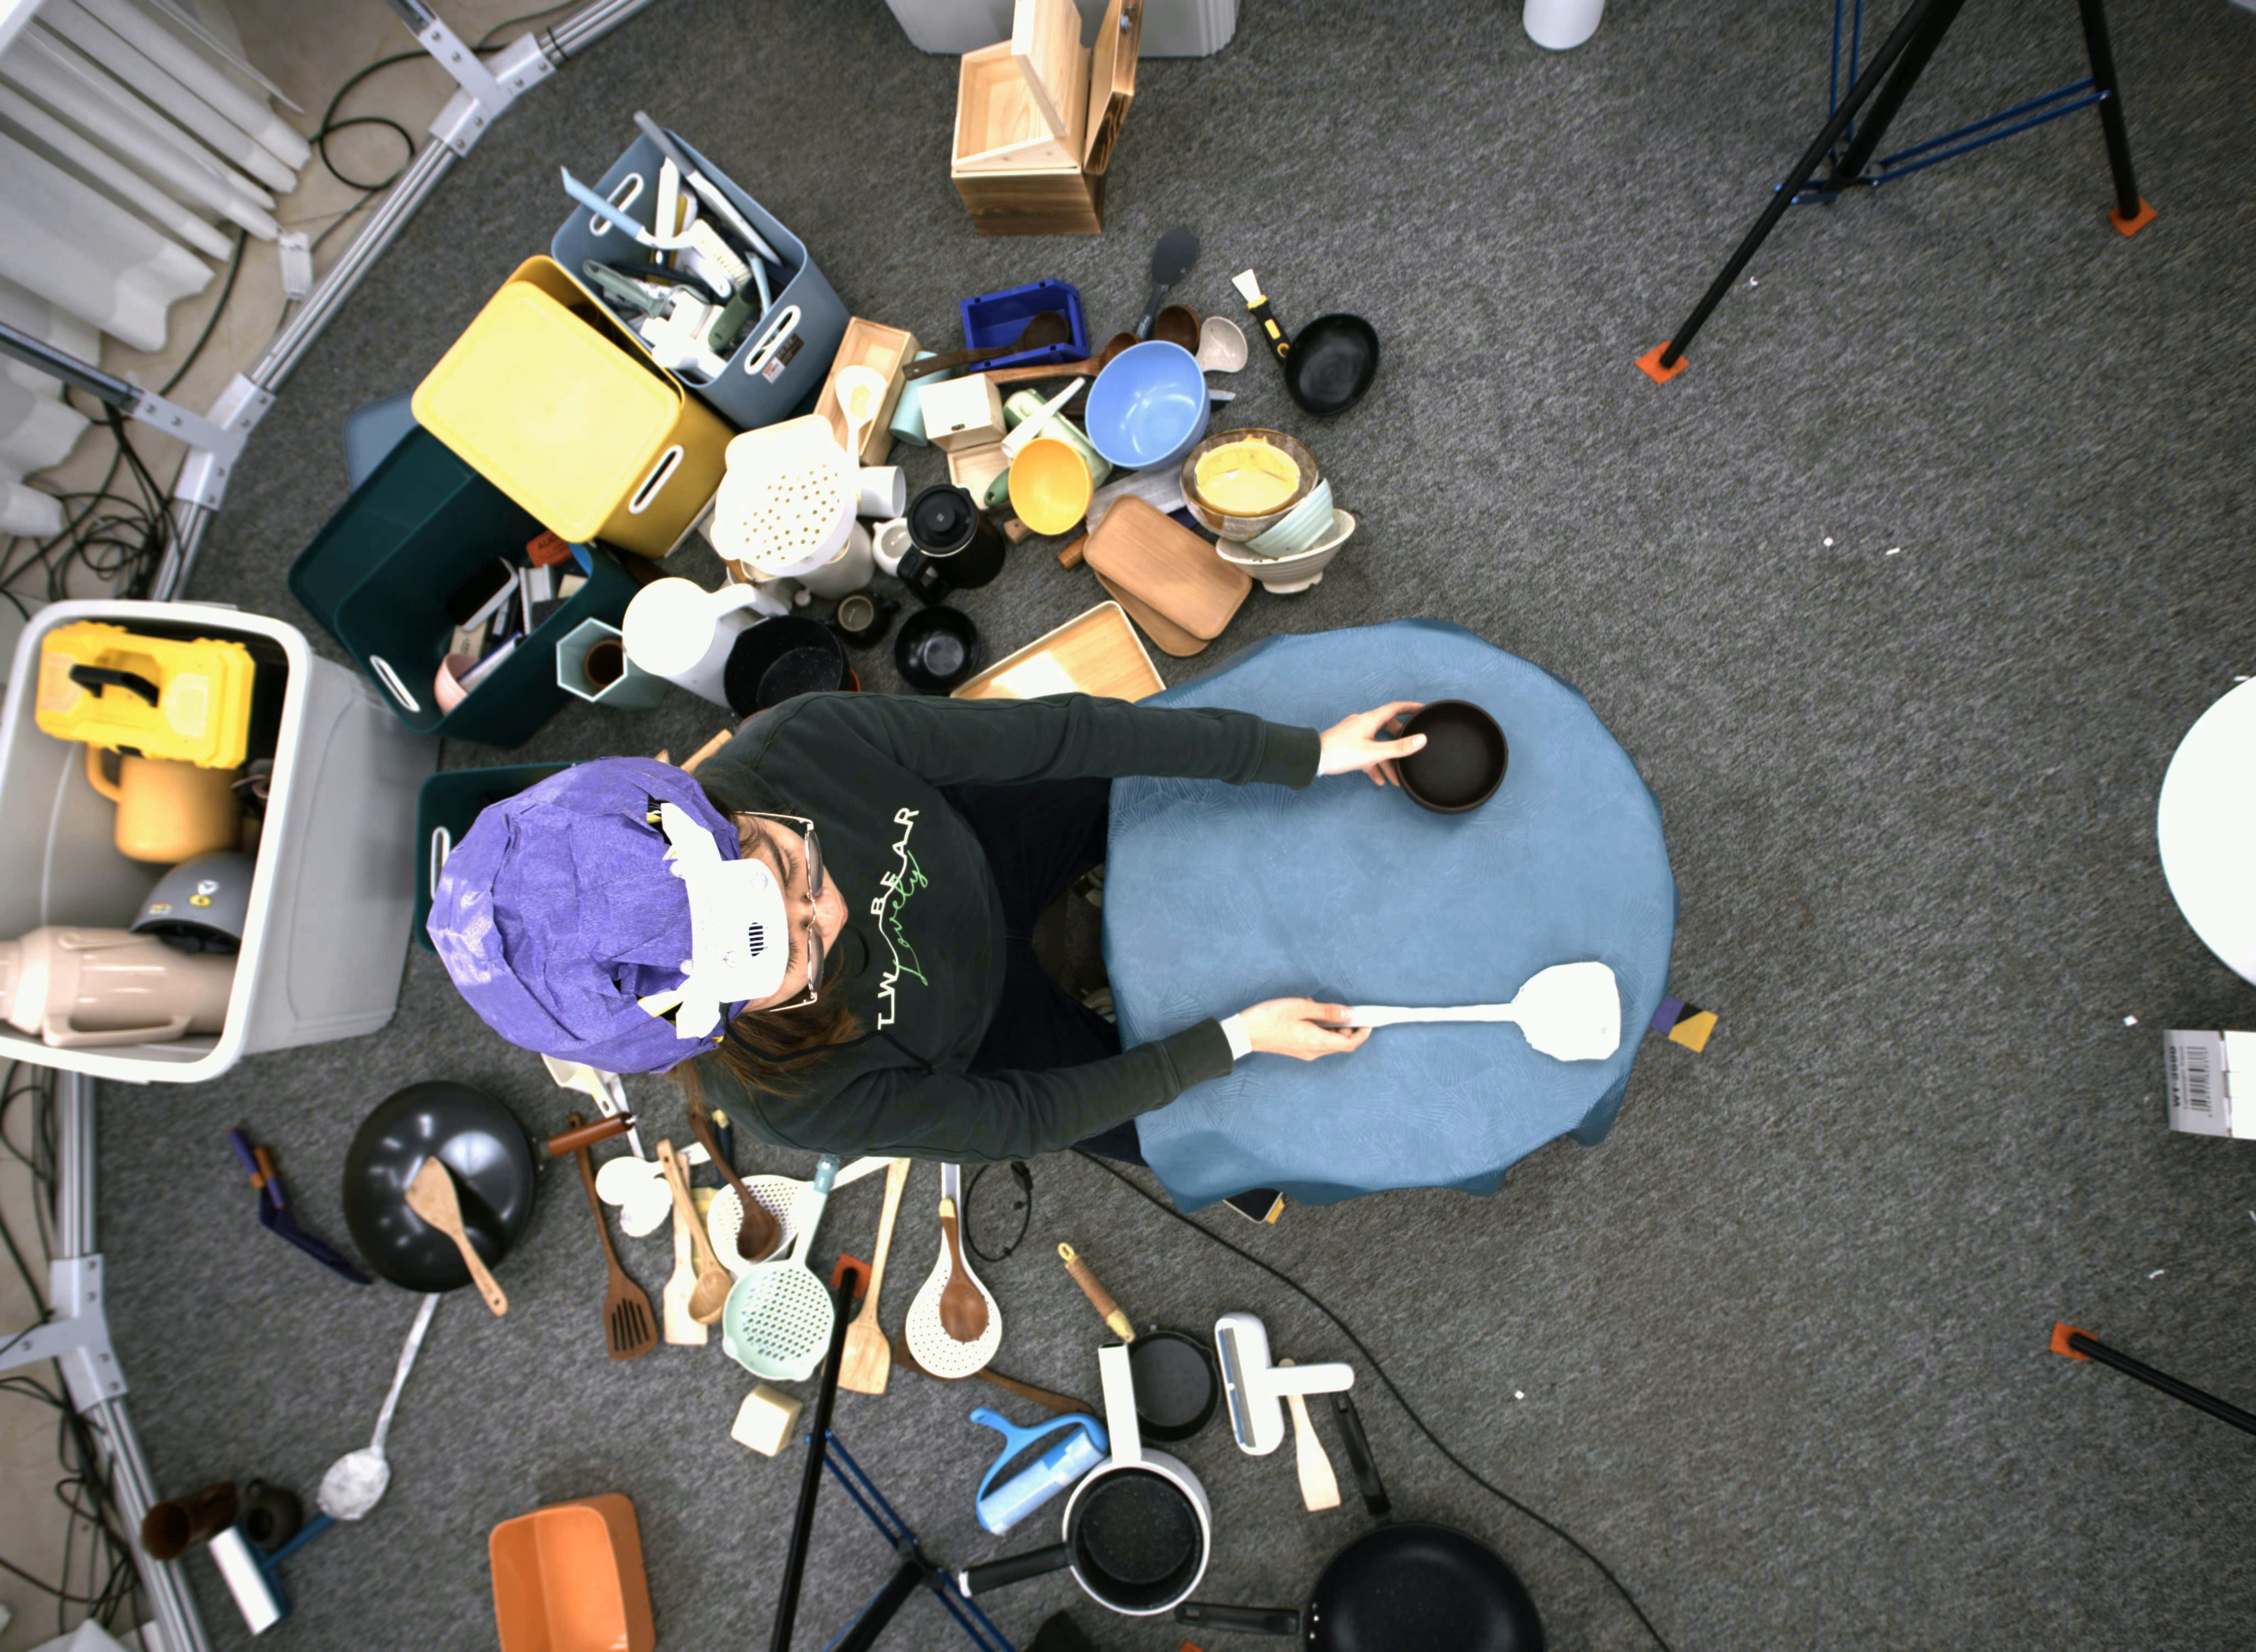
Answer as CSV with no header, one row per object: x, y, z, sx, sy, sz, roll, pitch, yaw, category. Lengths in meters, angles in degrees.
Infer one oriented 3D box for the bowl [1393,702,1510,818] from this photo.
0.335,-0.067,1.426,0.118,0.070,0.117,-1,84,12,bowl

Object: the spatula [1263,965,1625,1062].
0.321,0.191,1.426,0.366,0.045,0.098,-2,87,9,spatula
